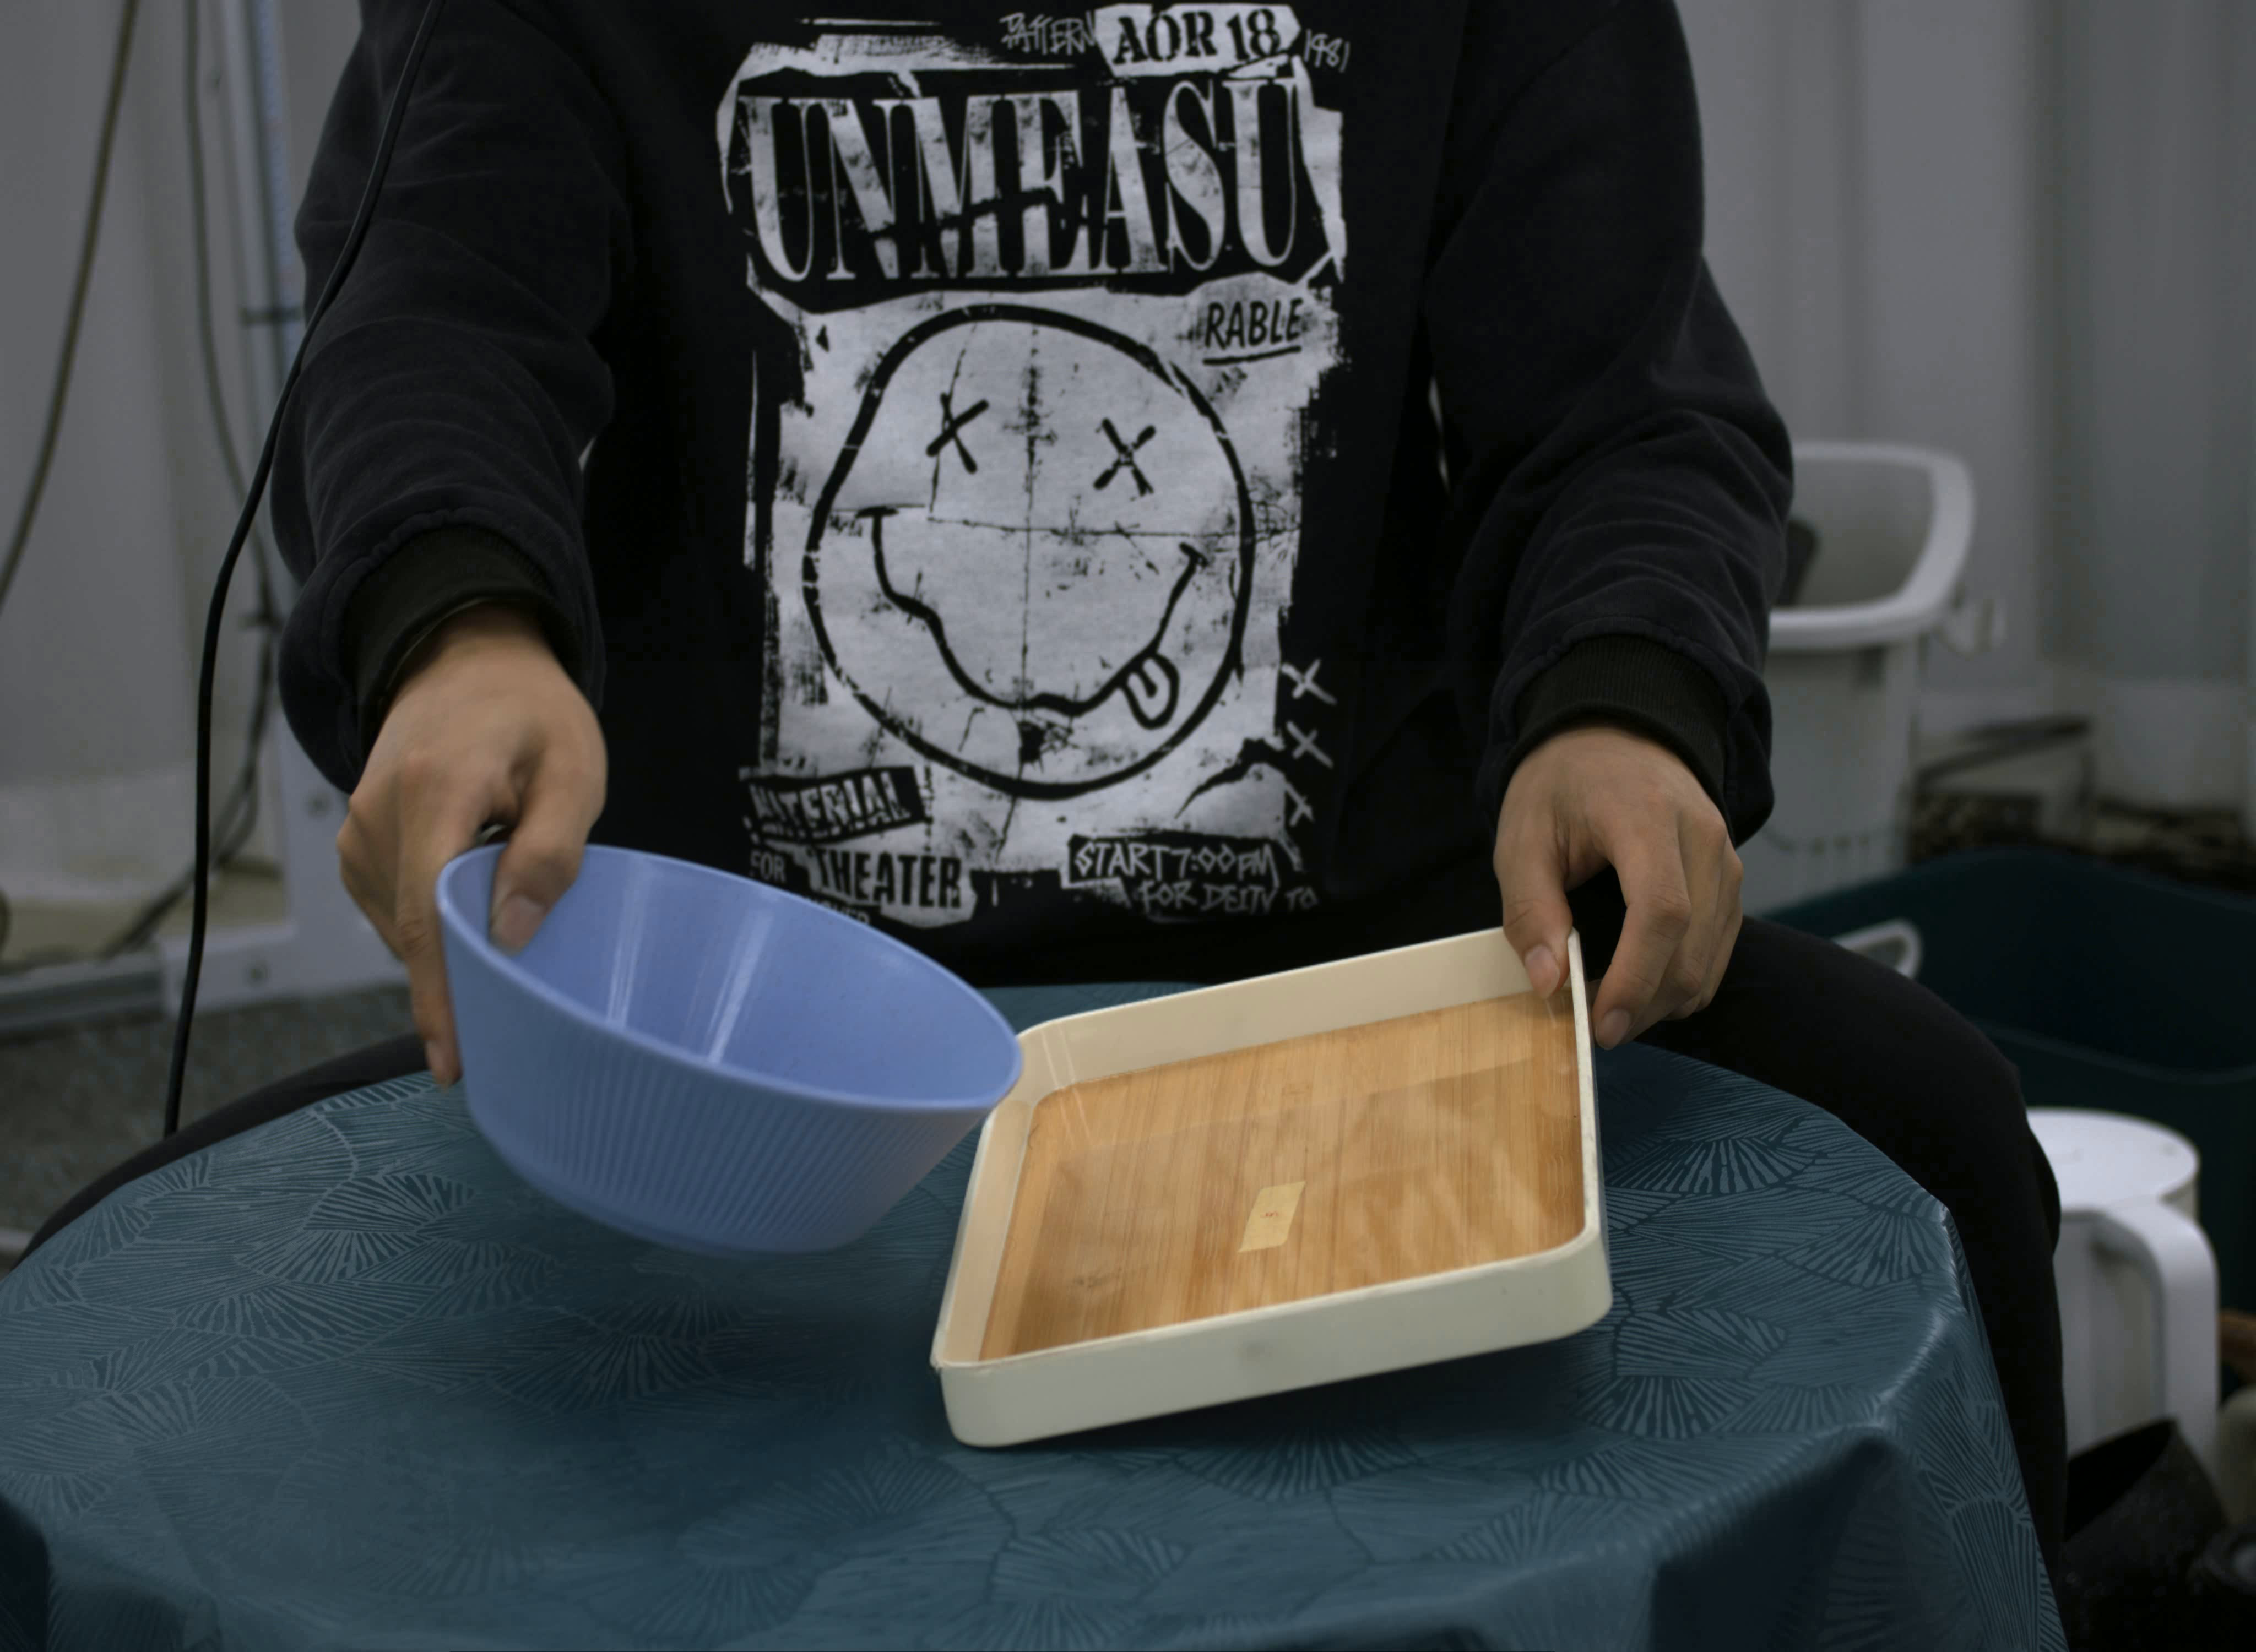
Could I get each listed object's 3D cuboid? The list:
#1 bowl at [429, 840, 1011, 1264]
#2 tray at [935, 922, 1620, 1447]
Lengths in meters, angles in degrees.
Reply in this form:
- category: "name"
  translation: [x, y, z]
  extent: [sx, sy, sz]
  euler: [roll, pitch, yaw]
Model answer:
- category: "bowl"
  translation: [-0.126, 0.071, 1.574]
  extent: [0.175, 0.070, 0.177]
  euler: [19, 16, -6]
- category: "tray"
  translation: [0.048, 0.102, 1.630]
  extent: [0.191, 0.027, 0.302]
  euler: [-11, 16, 7]
